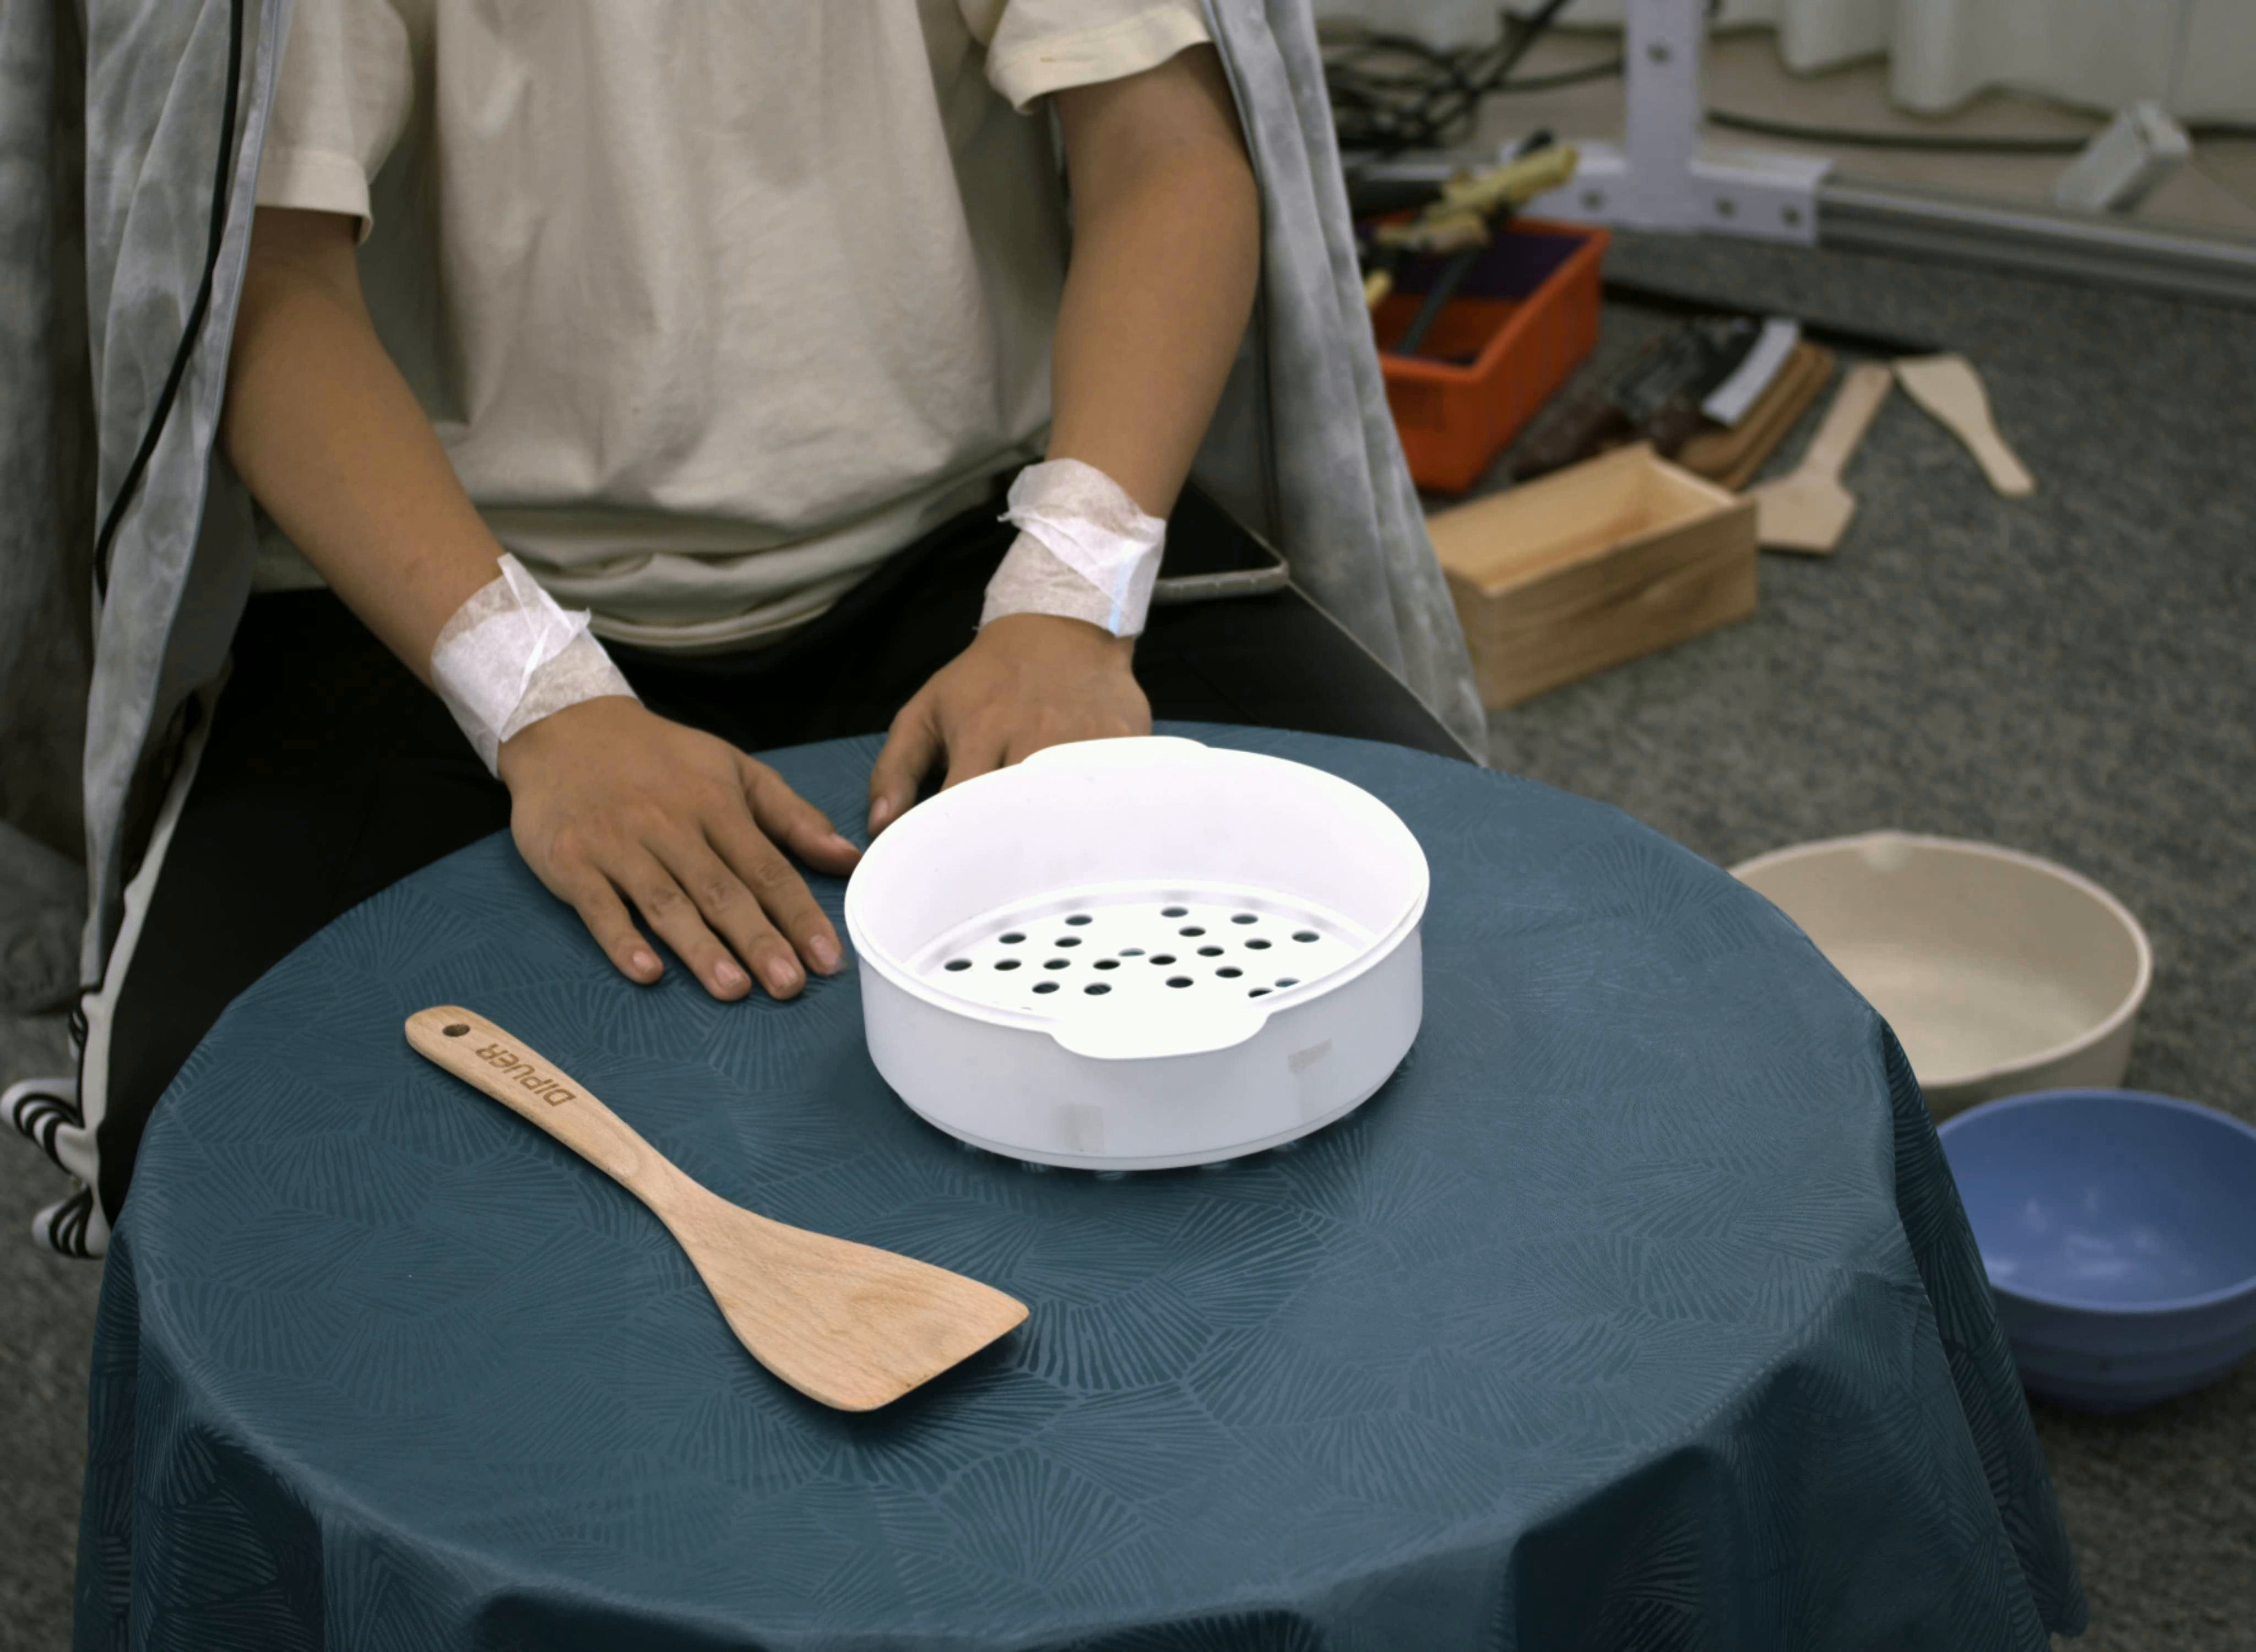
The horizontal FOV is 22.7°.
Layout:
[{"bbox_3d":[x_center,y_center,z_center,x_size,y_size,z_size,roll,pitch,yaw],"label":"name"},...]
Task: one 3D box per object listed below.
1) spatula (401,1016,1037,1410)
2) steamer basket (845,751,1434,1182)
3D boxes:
[{"bbox_3d":[-0.149,0.121,1.858,0.080,0.016,0.328,-21,32,-33],"label":"spatula"},{"bbox_3d":[0.005,0.050,1.929,0.201,0.068,0.234,-3,26,-3],"label":"steamer basket"}]
